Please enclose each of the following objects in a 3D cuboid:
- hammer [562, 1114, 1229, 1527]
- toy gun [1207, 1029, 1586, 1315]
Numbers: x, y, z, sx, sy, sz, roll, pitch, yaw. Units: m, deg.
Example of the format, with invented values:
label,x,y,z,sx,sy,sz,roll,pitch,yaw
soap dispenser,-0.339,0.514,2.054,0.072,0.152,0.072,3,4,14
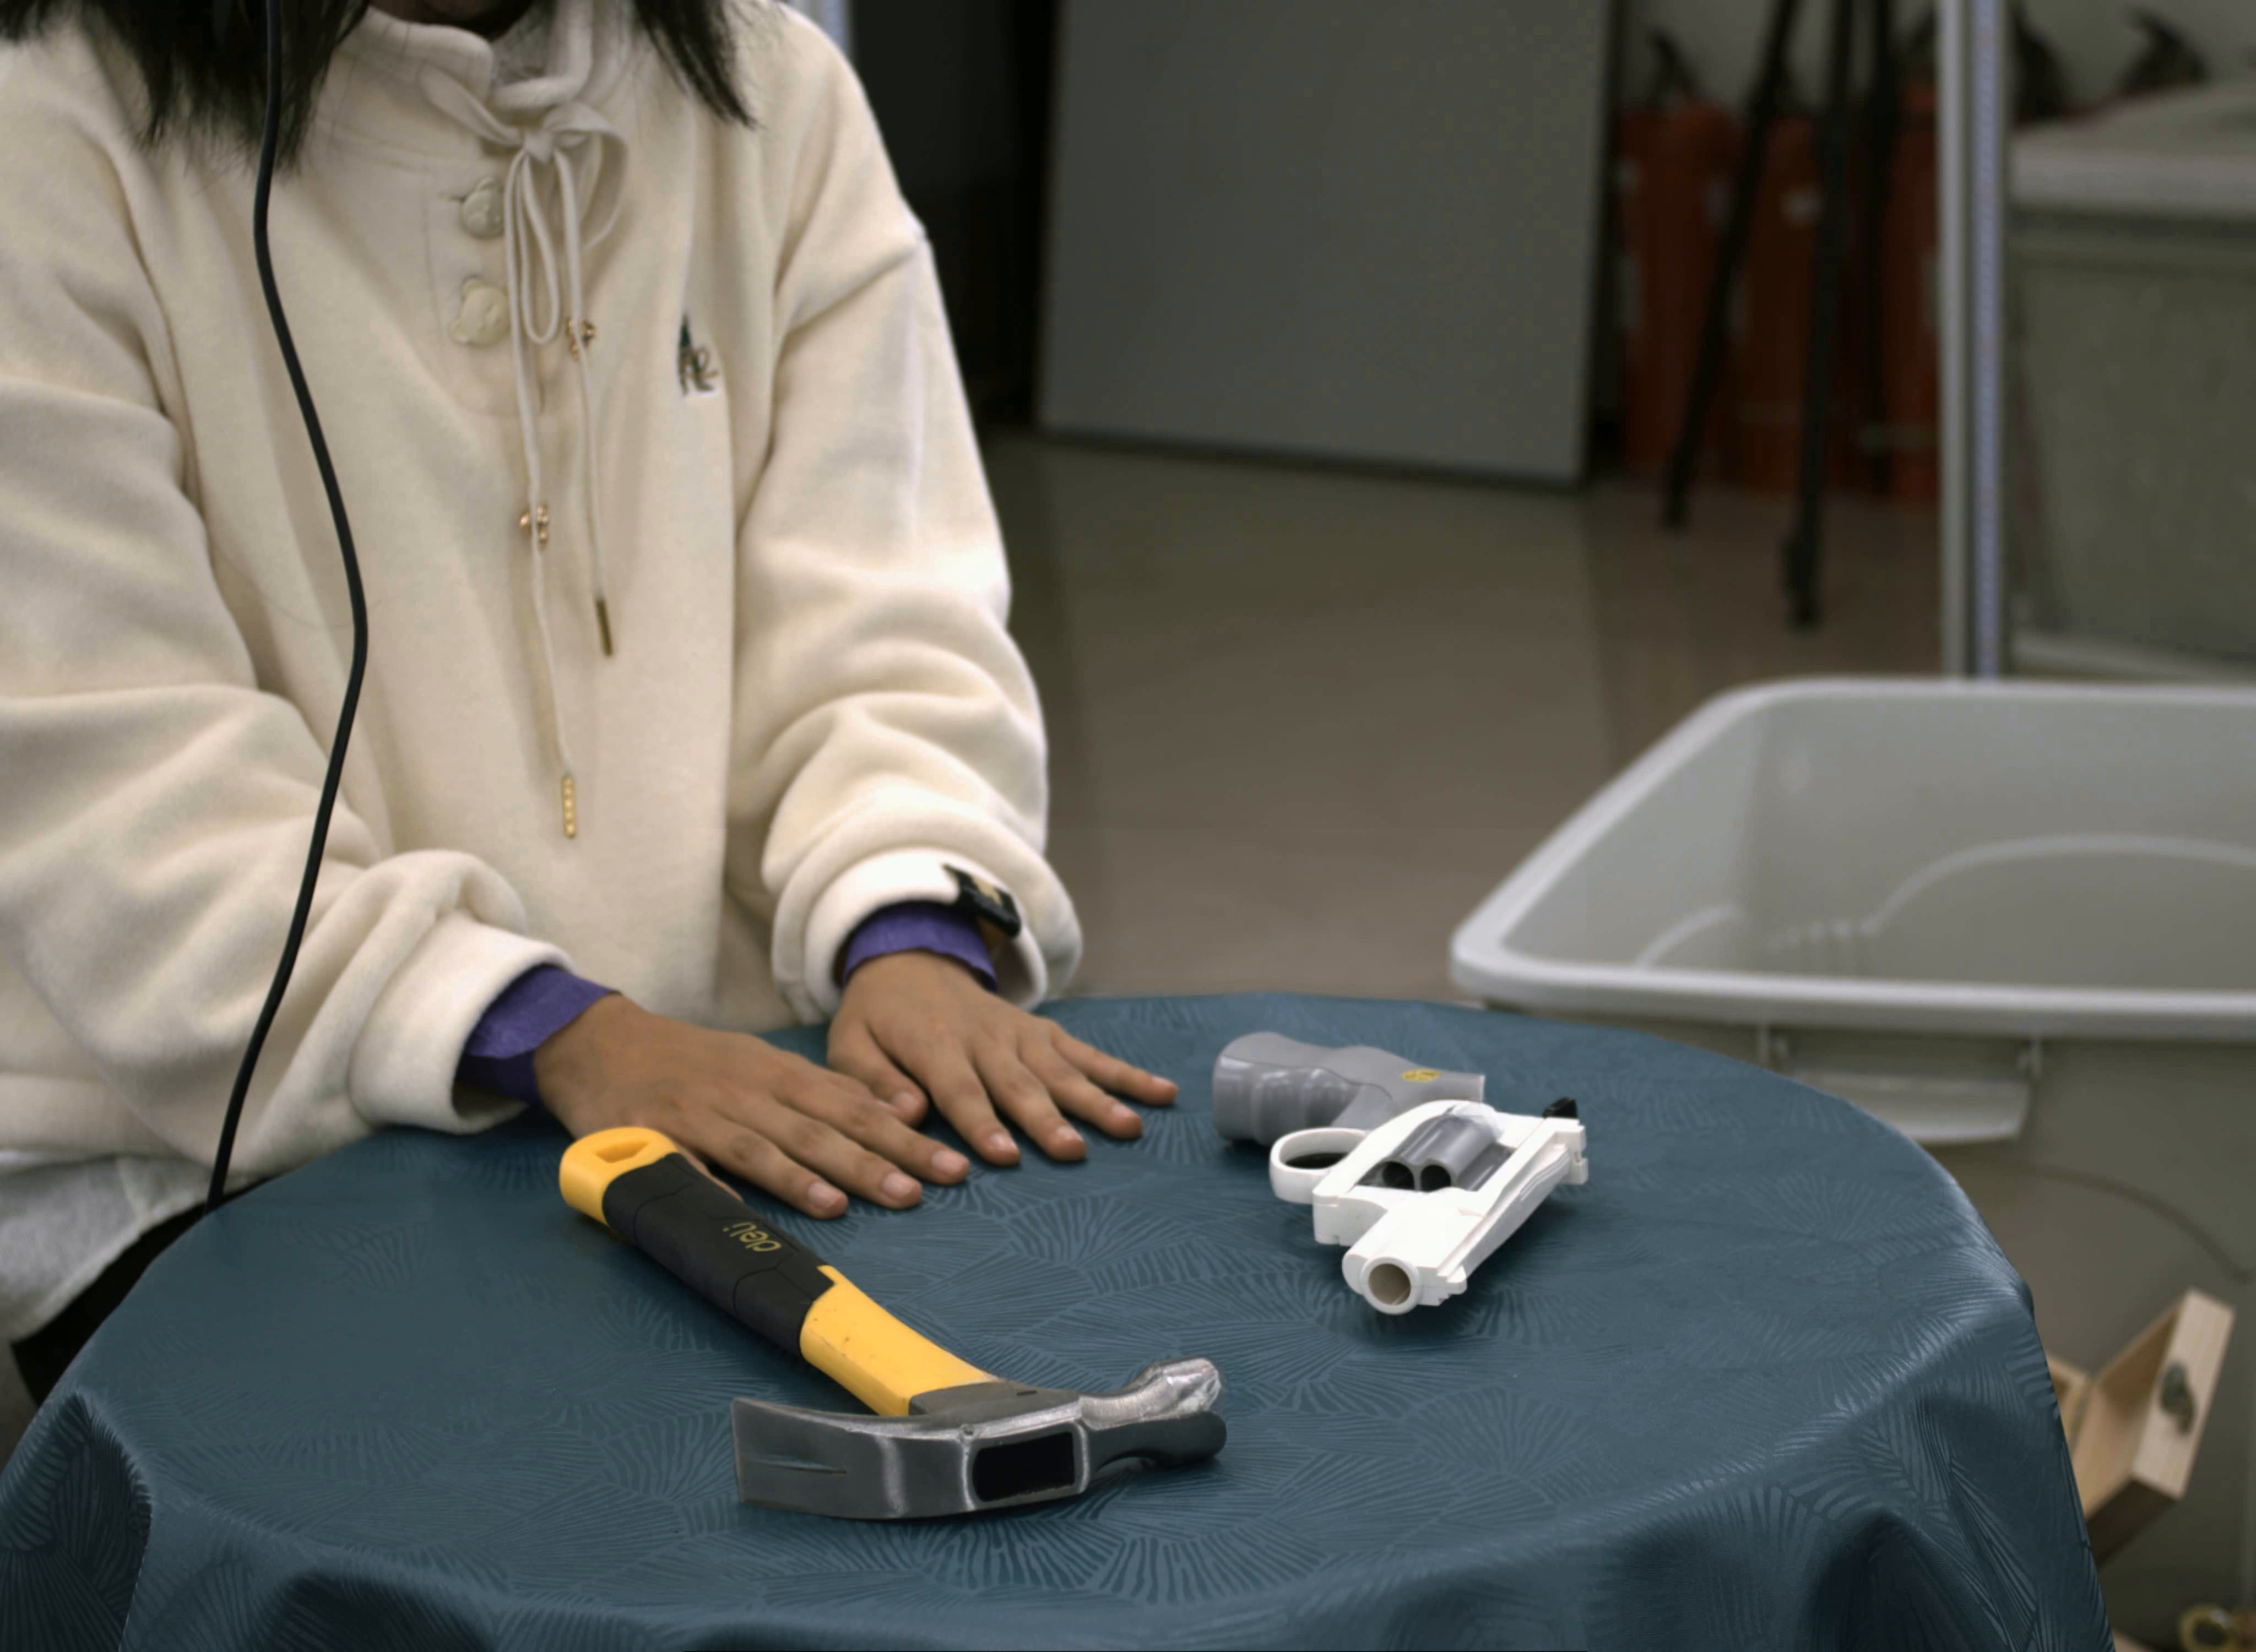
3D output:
label,x,y,z,sx,sy,sz,roll,pitch,yaw
hammer,-0.099,0.142,1.639,0.128,0.032,0.342,-12,17,-22
toy gun,0.072,0.108,1.717,0.141,0.039,0.207,2,15,20
